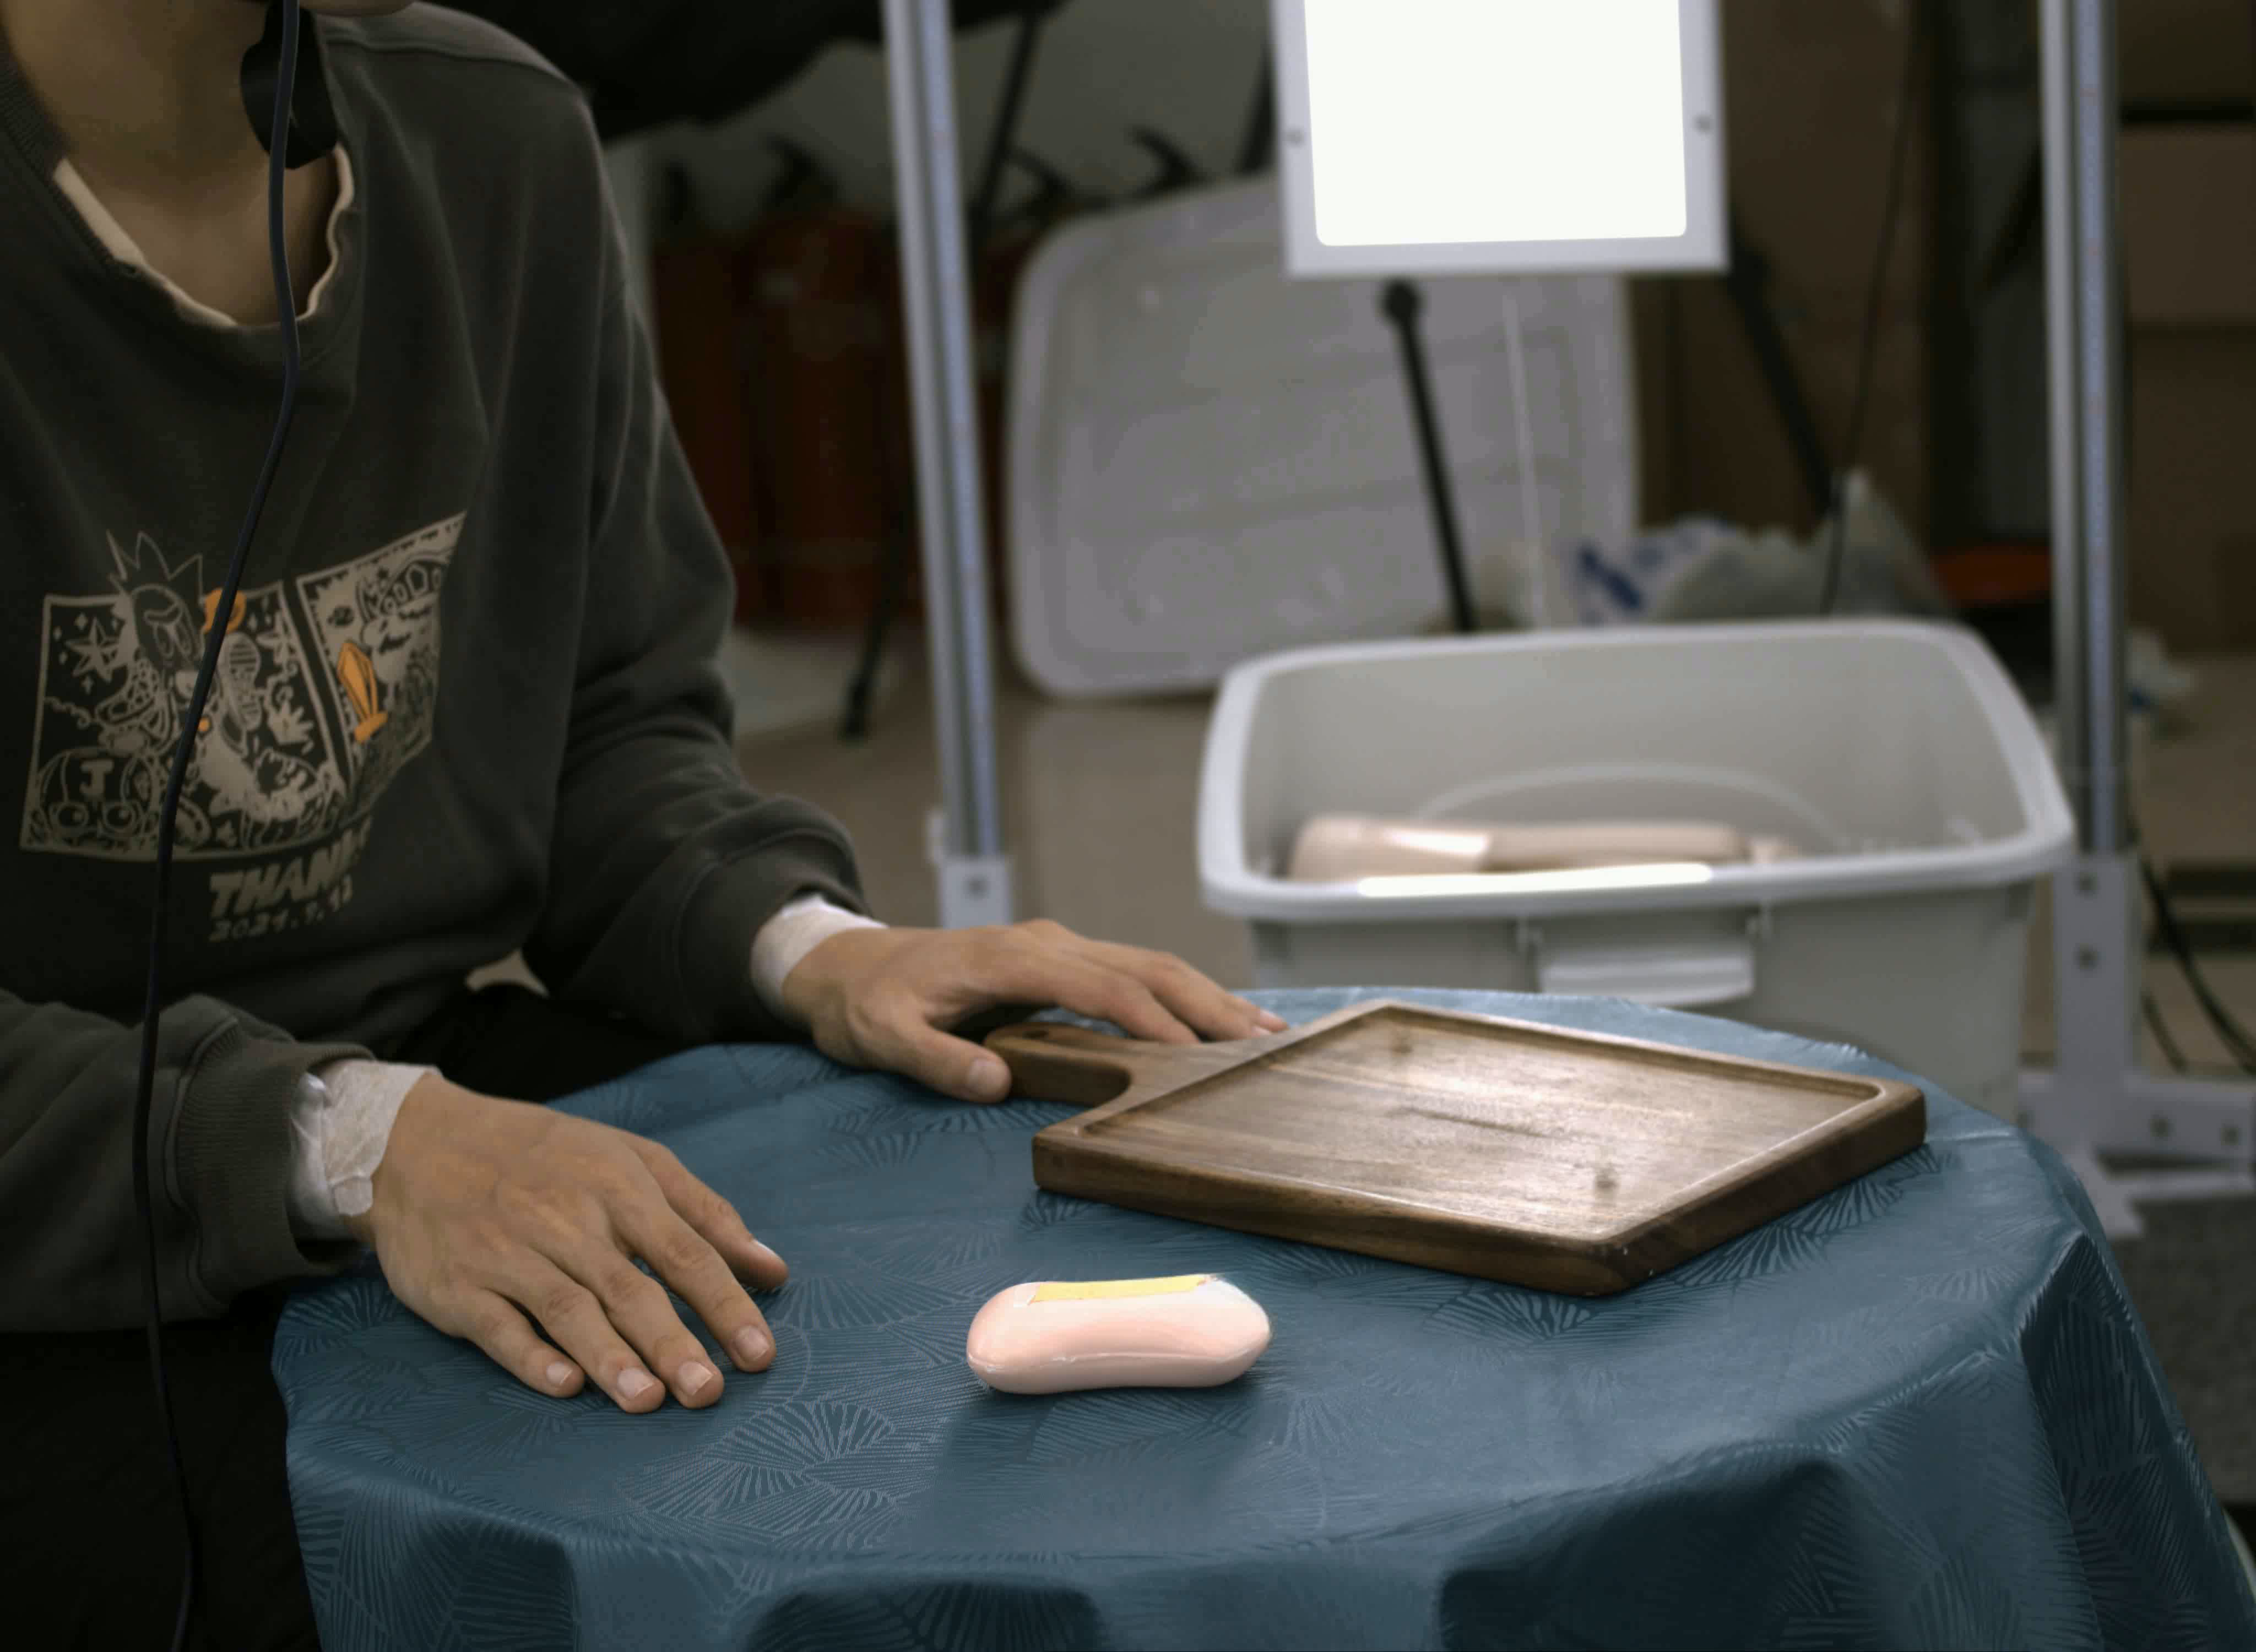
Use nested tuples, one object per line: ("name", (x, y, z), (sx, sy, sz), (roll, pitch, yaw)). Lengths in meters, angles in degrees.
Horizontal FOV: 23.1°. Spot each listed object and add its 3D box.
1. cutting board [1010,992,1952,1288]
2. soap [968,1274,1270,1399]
("cutting board", (0.094, 0.099, 1.930), (0.360, 0.023, 0.196), (8, 19, 43))
("soap", (-0.002, 0.159, 1.710), (0.095, 0.030, 0.050), (-5, 13, 9))
